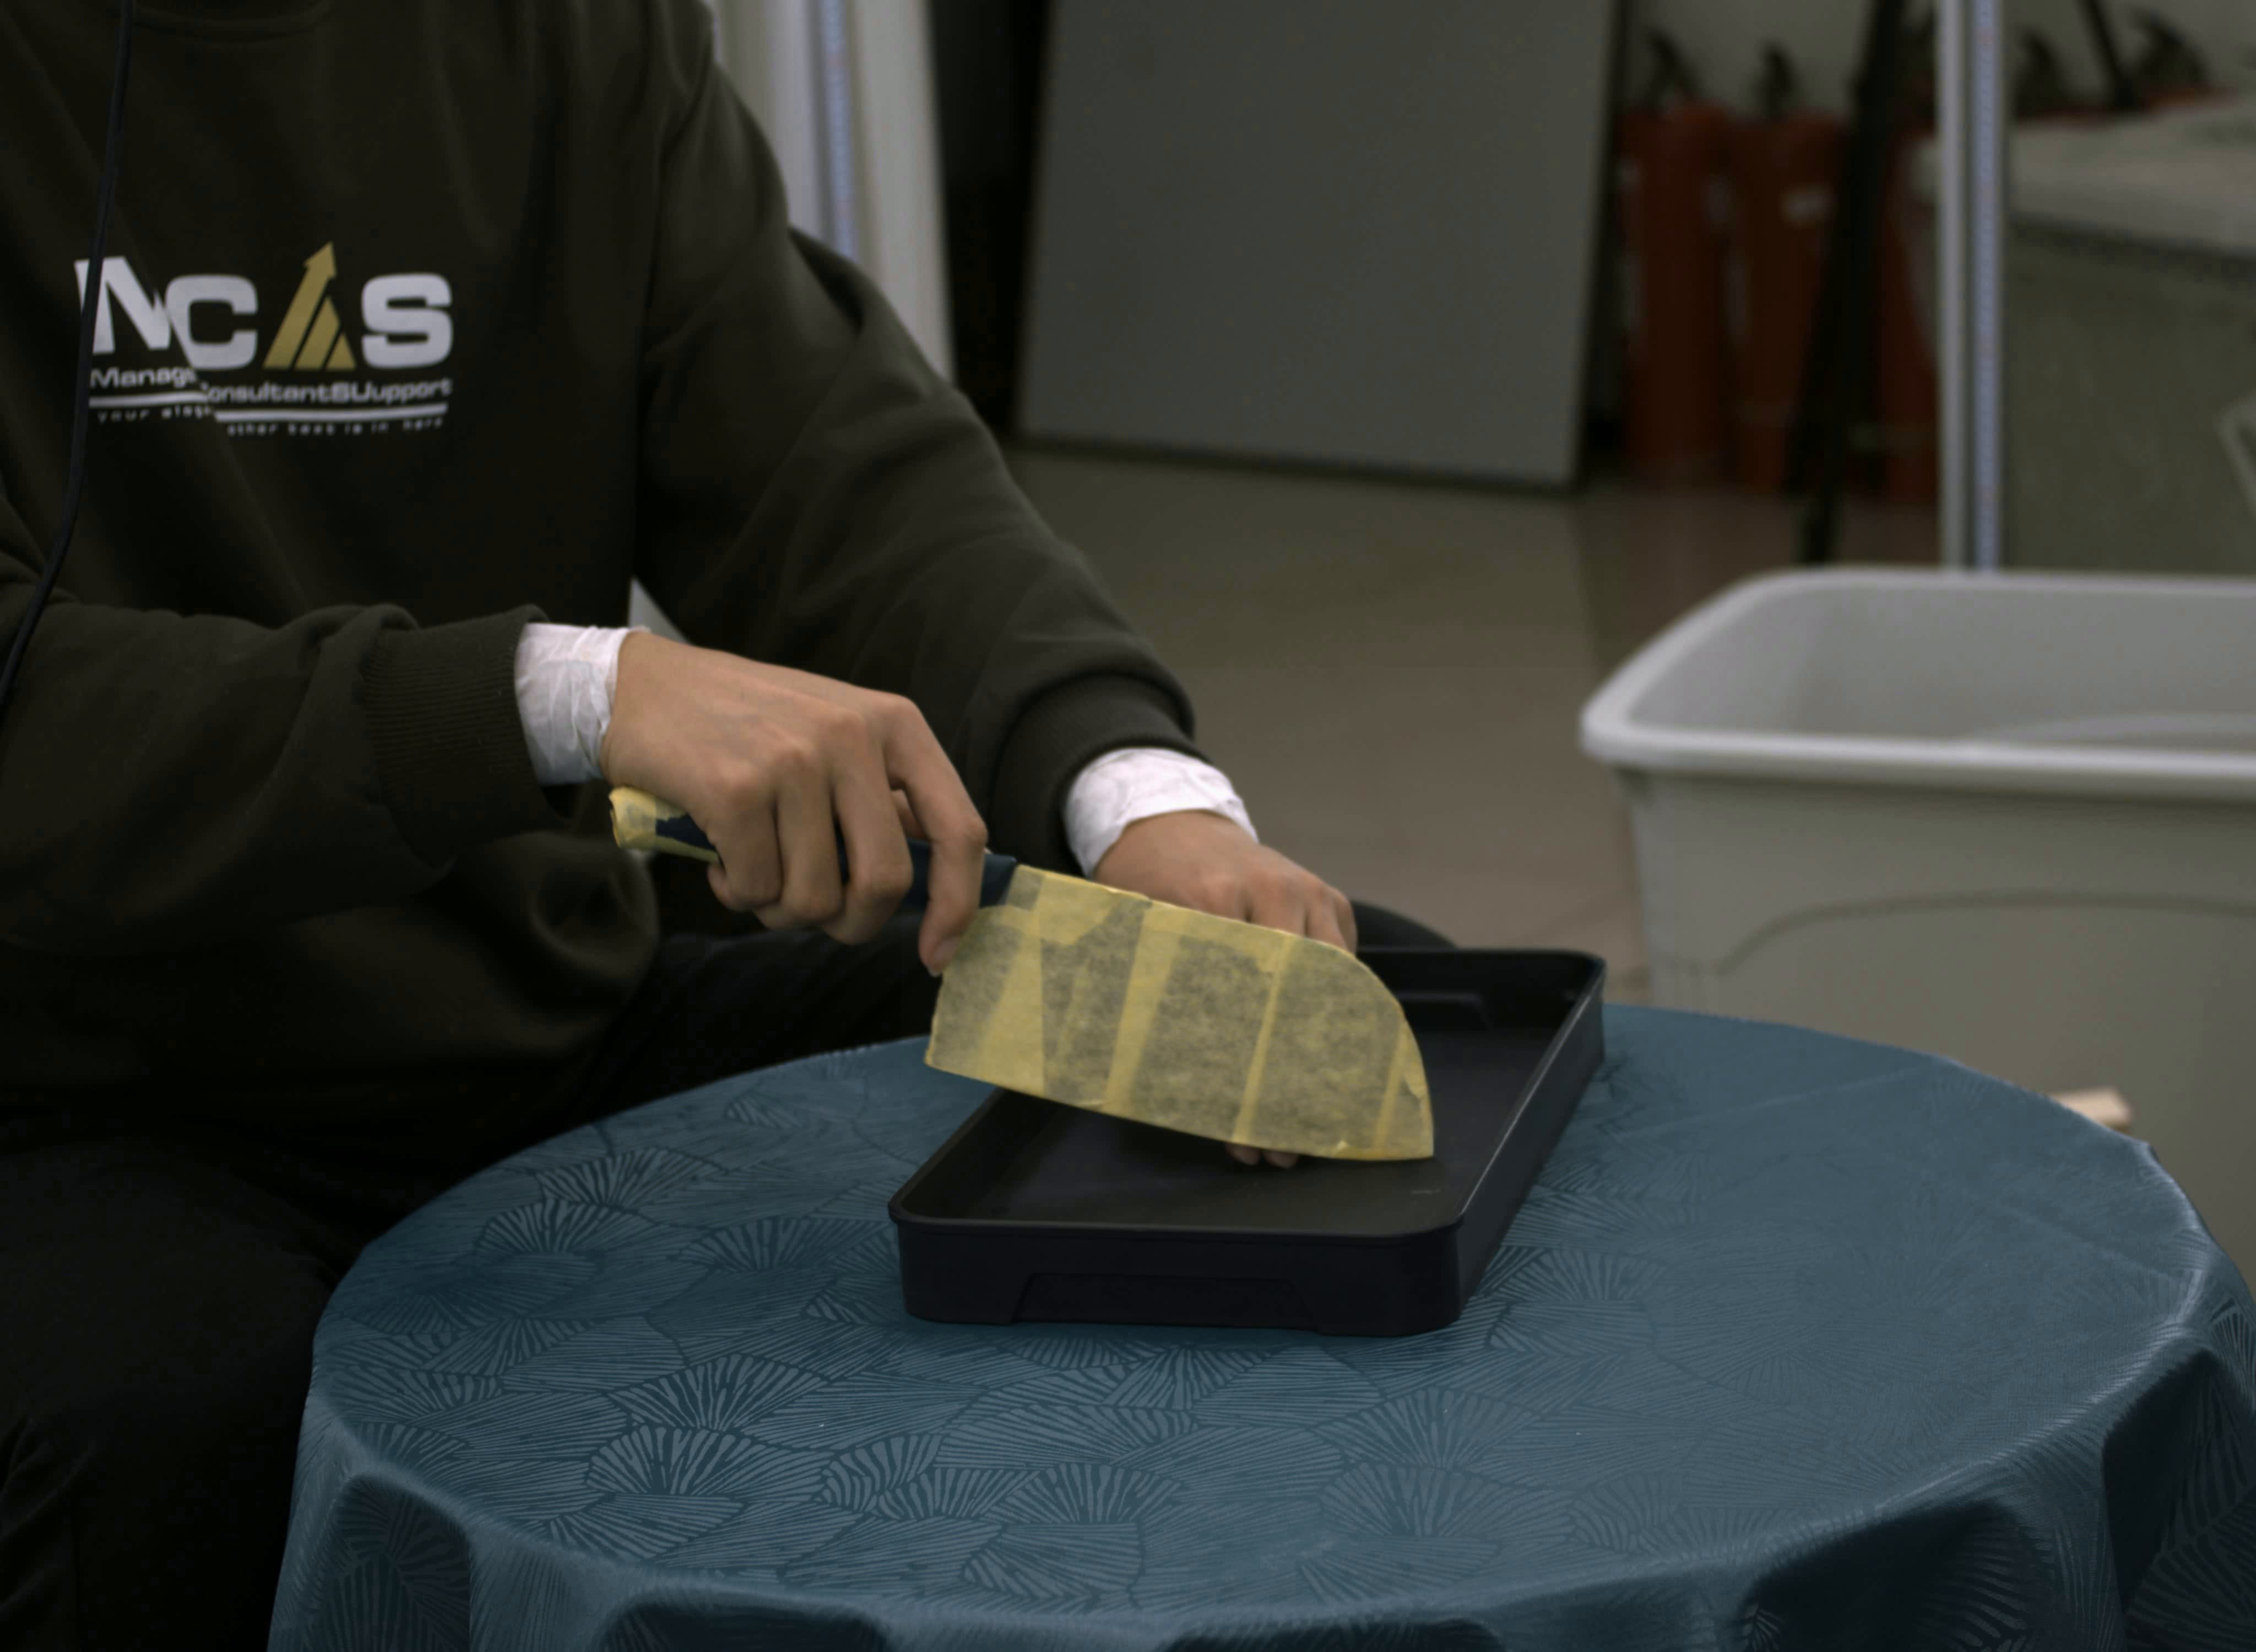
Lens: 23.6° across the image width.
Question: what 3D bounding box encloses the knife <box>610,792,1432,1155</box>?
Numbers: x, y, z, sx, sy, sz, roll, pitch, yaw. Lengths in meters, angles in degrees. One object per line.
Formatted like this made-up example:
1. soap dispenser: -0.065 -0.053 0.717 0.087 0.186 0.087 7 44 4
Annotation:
1. knife: -0.036 0.048 1.767 0.286 0.082 0.027 17 -5 -1

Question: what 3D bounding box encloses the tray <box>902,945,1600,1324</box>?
1. tray: 0.049 0.097 1.781 0.183 0.037 0.316 -1 14 14
